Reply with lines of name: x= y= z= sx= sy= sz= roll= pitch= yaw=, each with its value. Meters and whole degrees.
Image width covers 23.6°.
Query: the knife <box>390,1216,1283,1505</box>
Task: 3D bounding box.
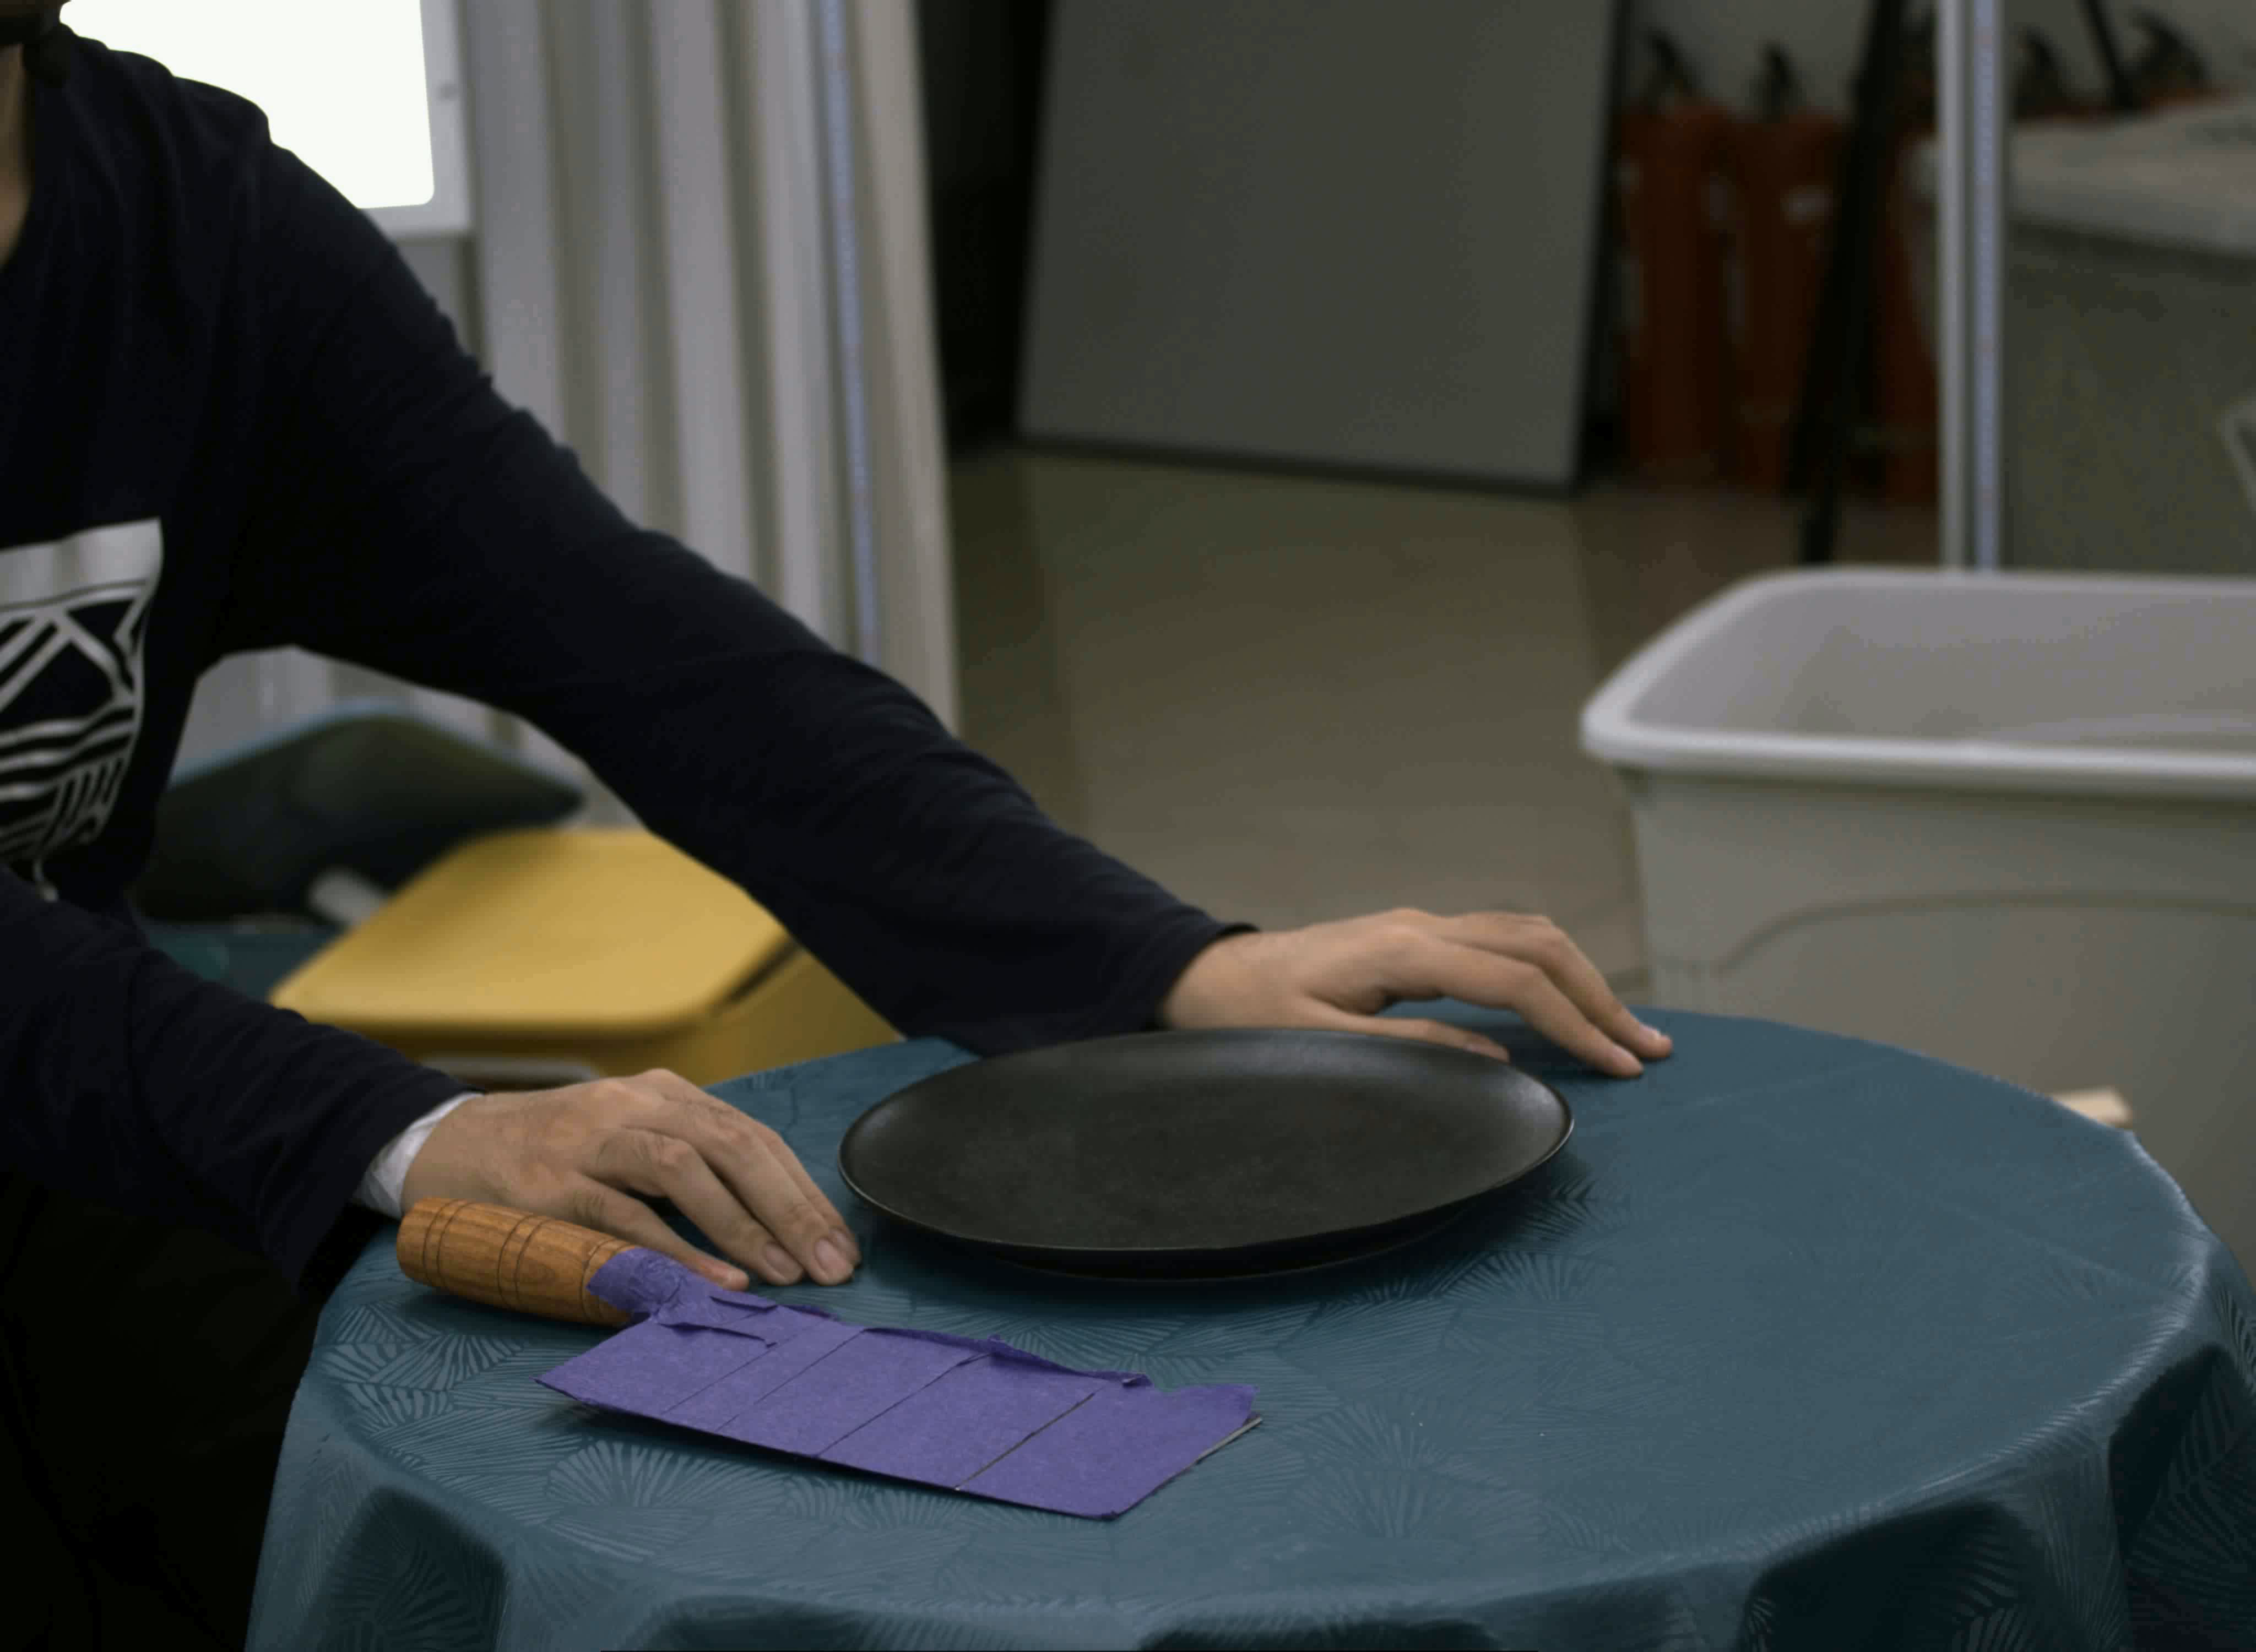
knife: x=-0.110 y=0.157 z=1.602 sx=0.317 sy=0.032 sz=0.102 roll=5 pitch=16 yaw=33

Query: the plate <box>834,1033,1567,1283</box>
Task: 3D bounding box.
plate: x=0.024 y=0.111 z=1.764 sx=0.241 sy=0.024 sz=0.245 roll=-4 pitch=13 yaw=0
